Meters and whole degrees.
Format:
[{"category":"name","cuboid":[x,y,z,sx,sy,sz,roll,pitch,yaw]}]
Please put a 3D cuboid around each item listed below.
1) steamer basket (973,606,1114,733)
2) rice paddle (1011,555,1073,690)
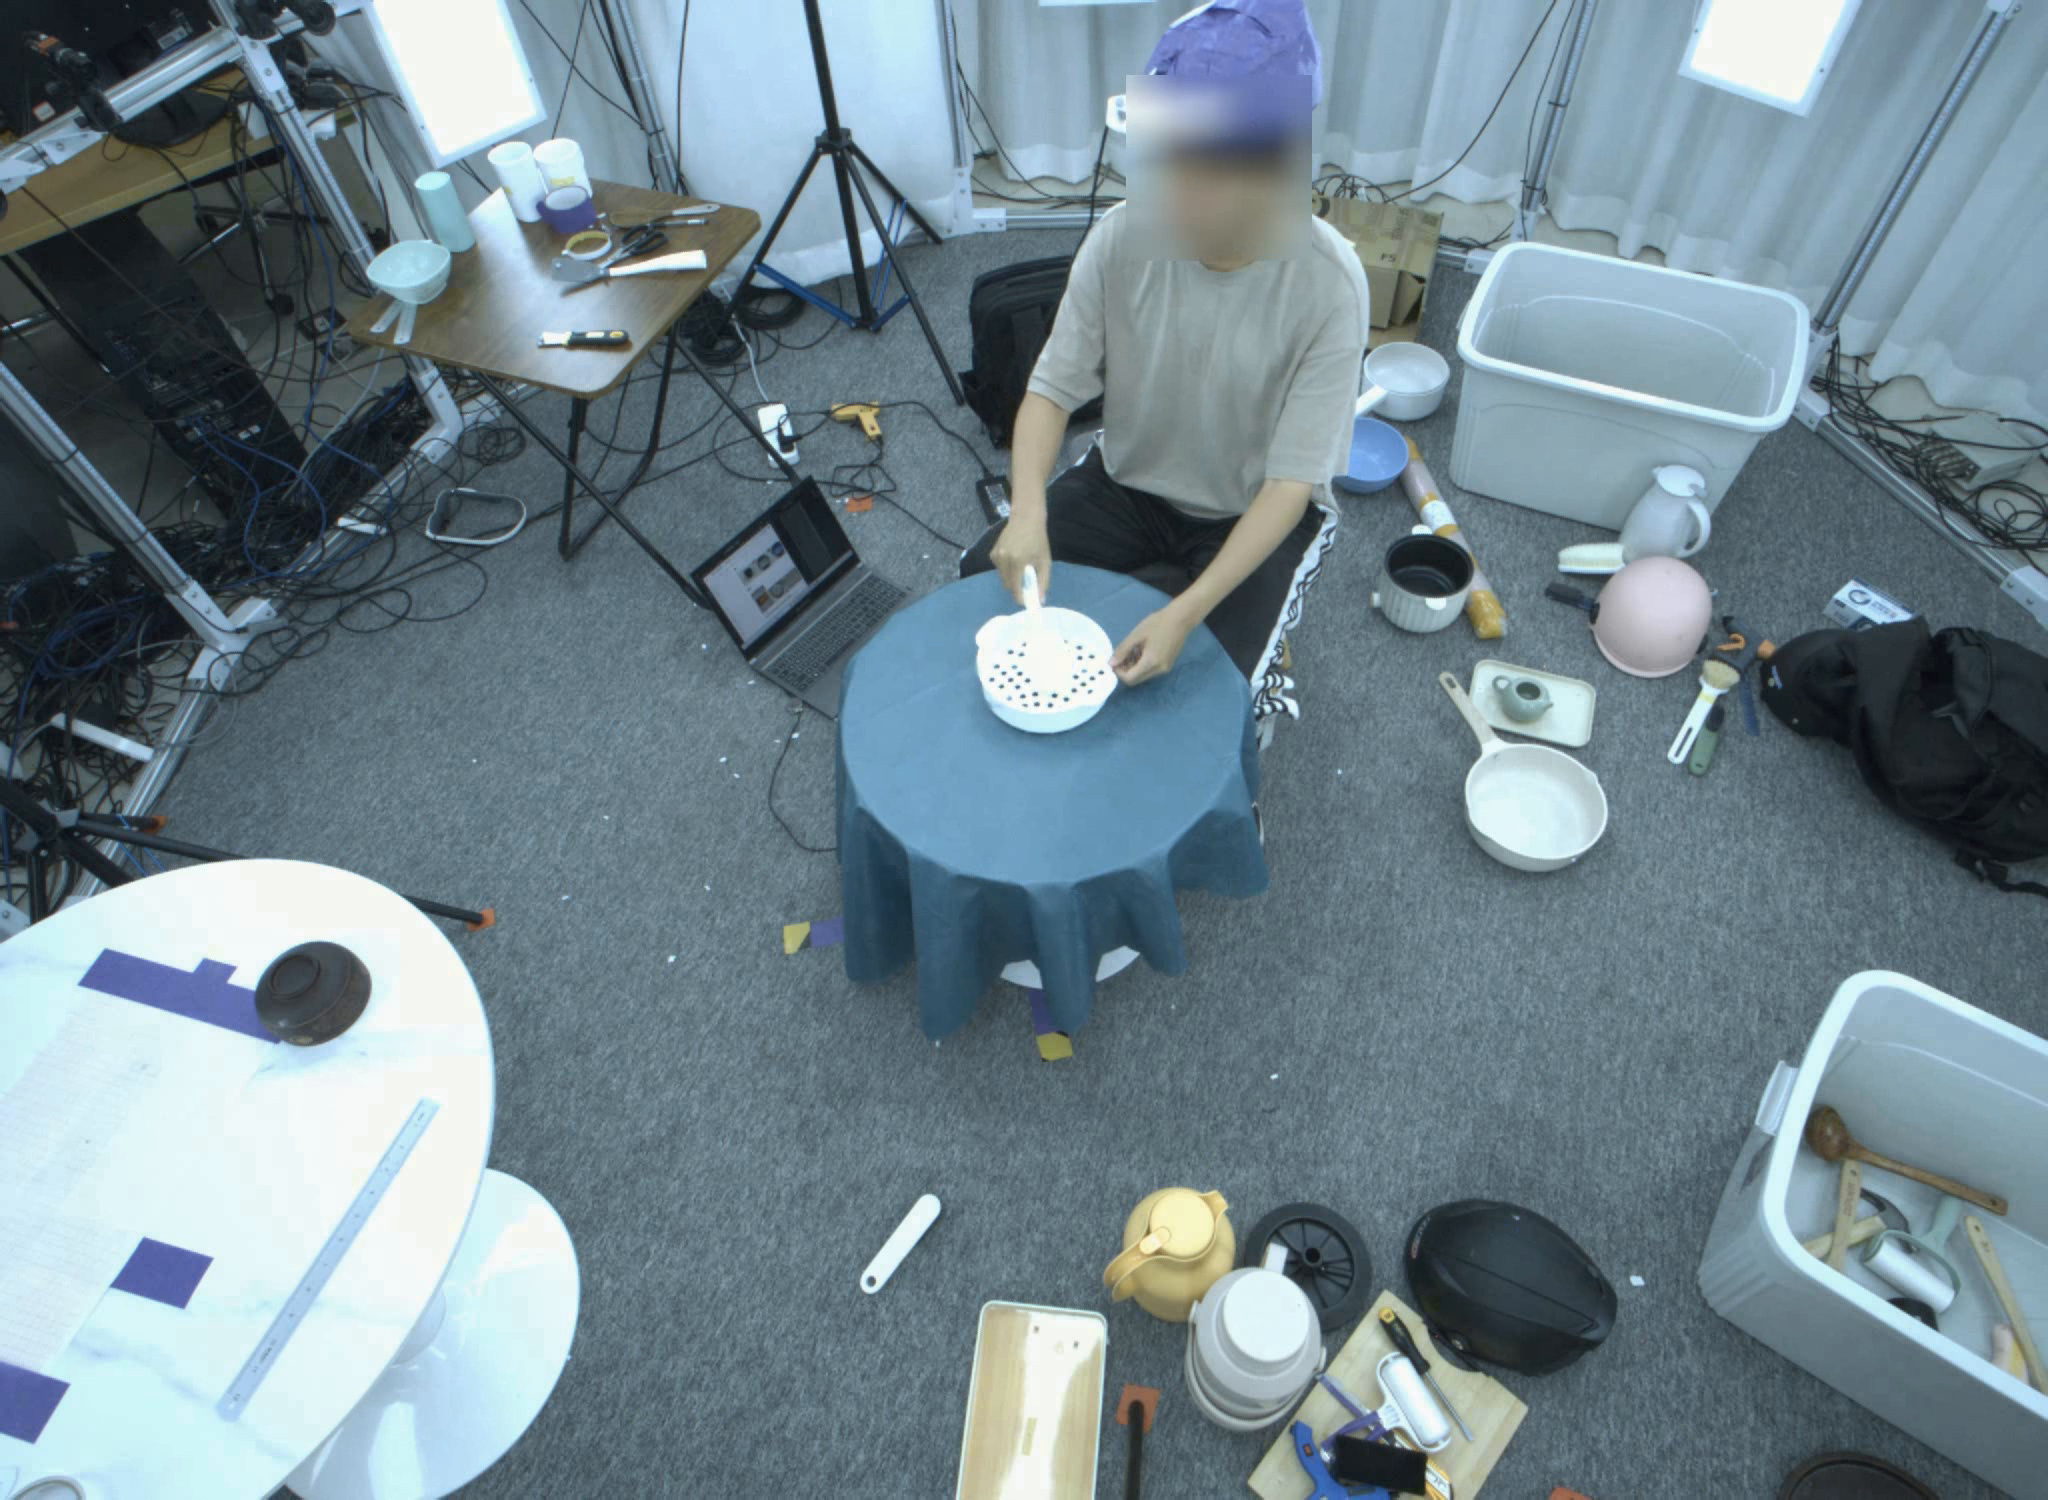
[{"category":"steamer basket","cuboid":[0.028,-0.118,1.828,0.227,0.070,0.203,32,62,20]},{"category":"rice paddle","cuboid":[0.022,-0.187,1.810,0.068,0.029,0.205,-15,86,6]}]
